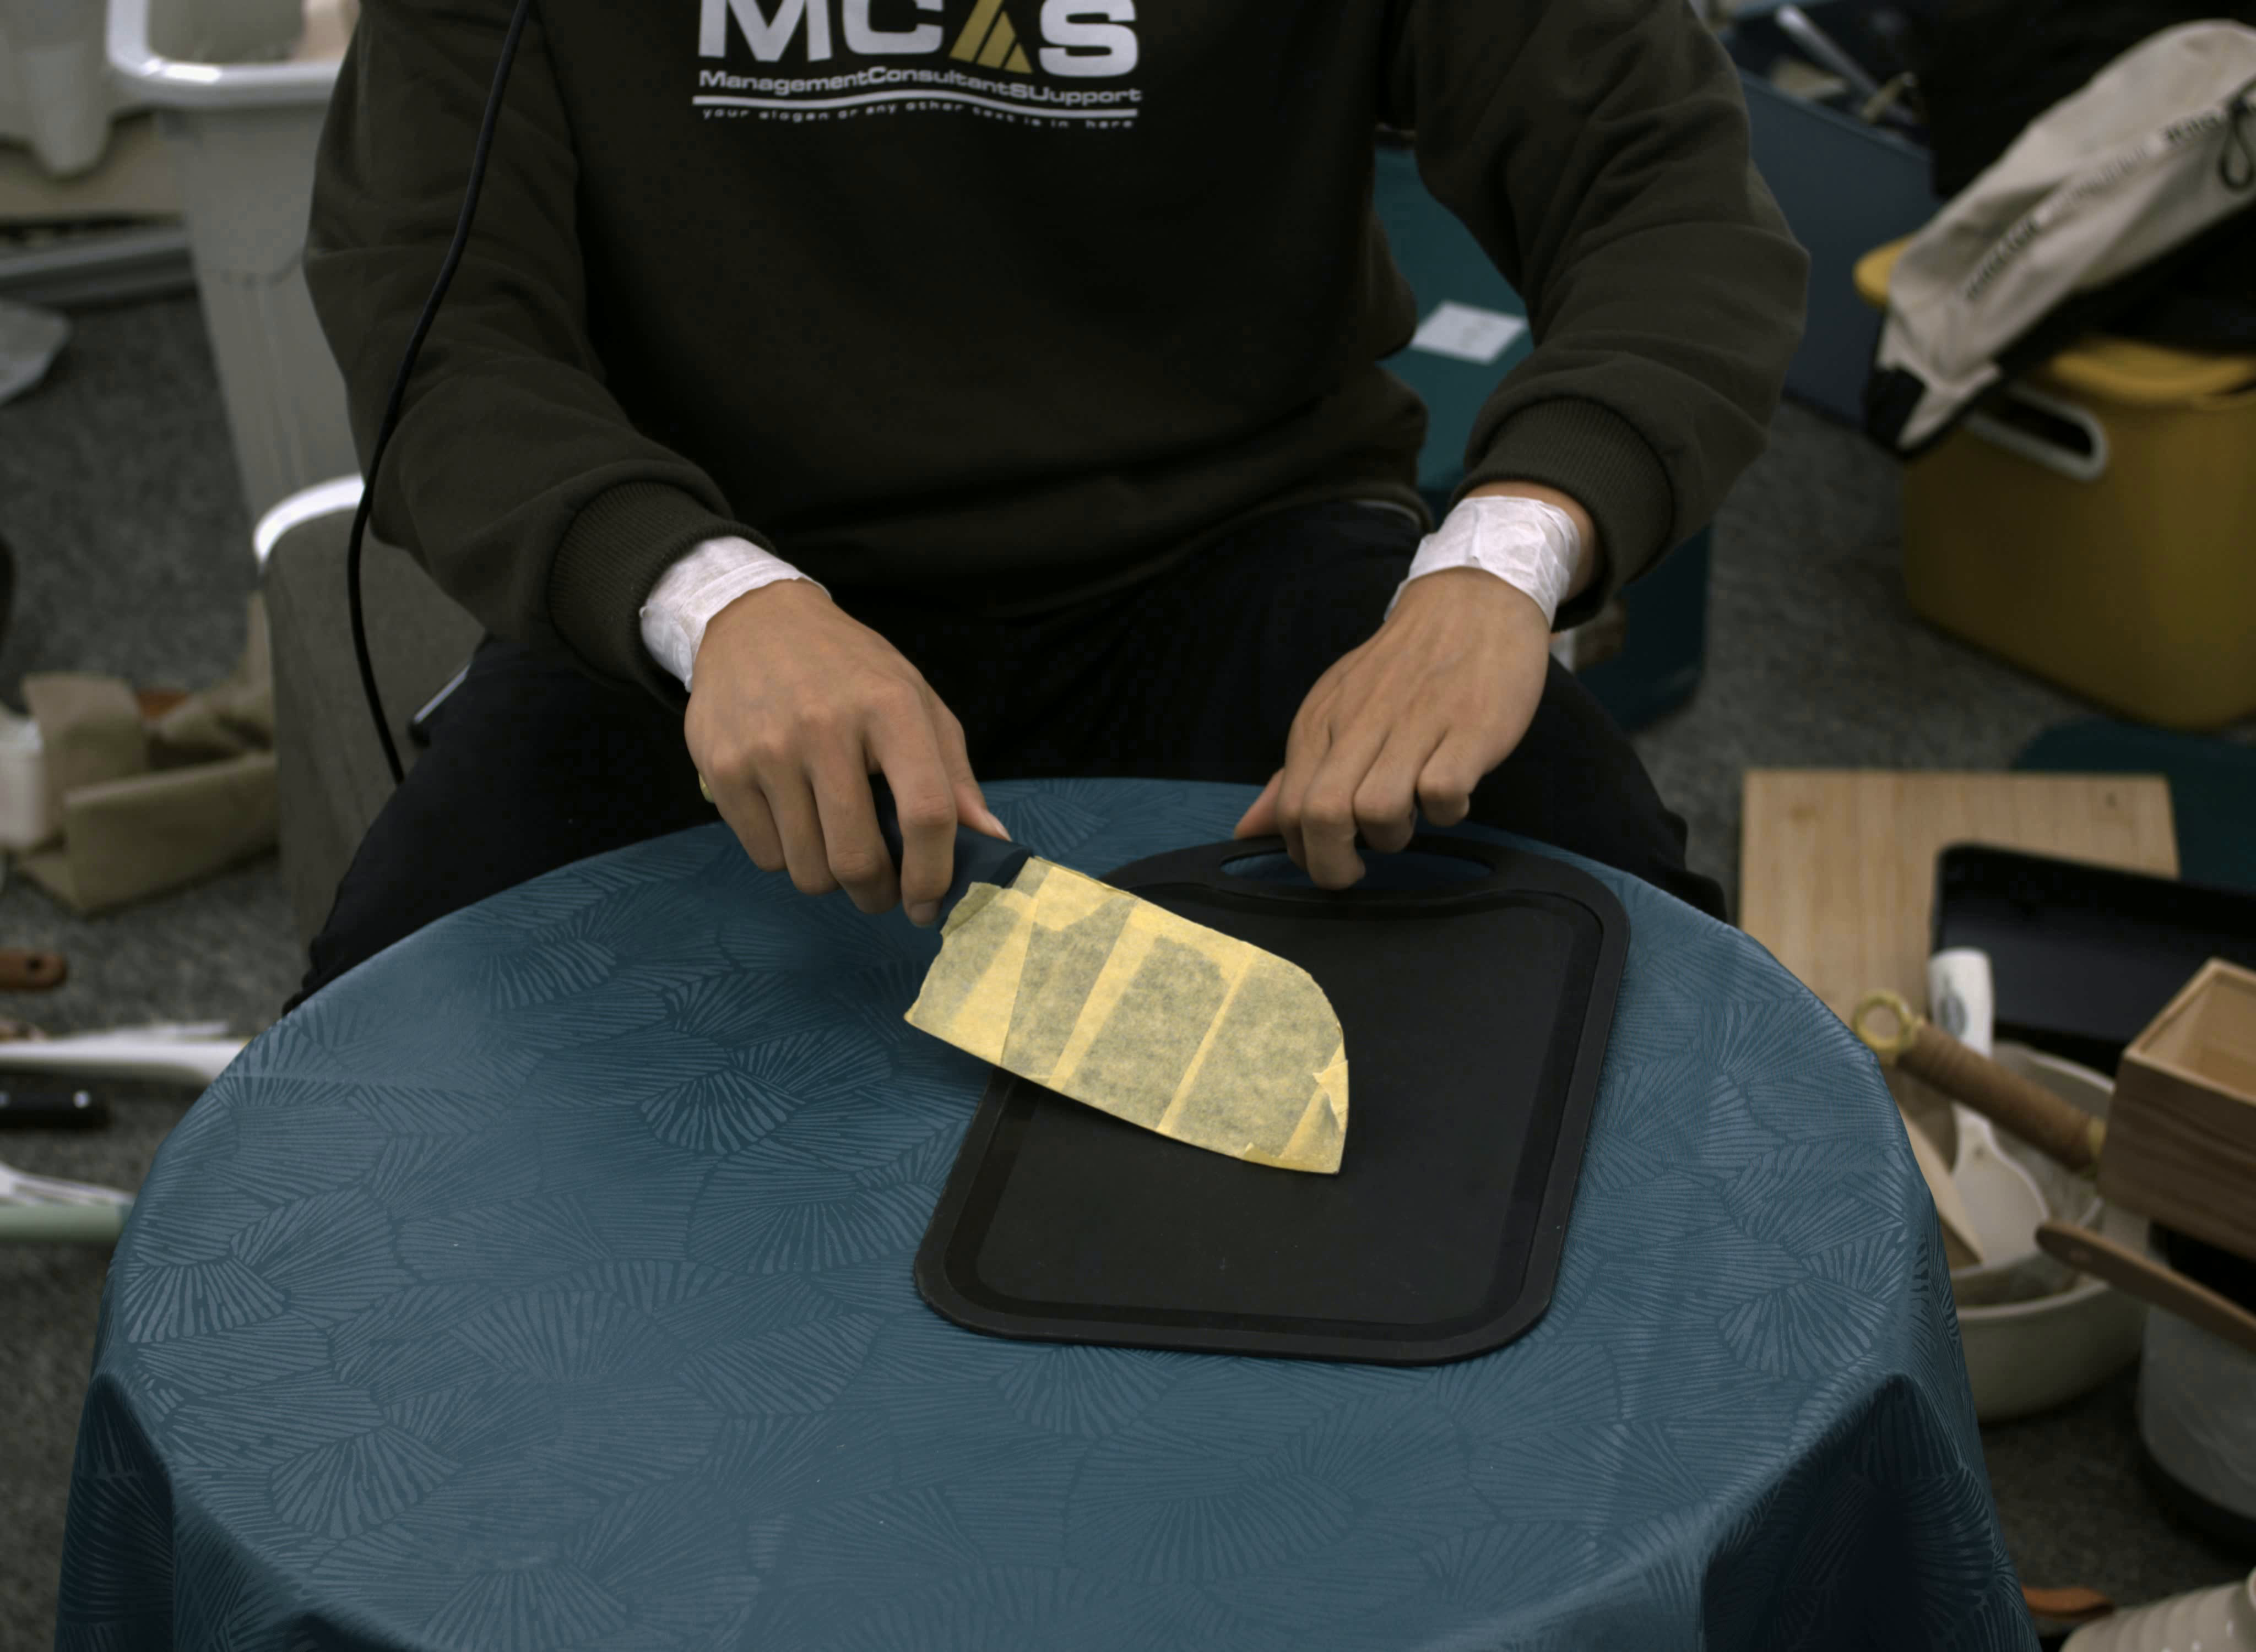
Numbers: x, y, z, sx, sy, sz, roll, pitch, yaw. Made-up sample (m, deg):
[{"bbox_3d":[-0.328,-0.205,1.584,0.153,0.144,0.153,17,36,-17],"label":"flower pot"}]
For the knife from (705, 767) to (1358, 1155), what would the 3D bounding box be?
[{"bbox_3d":[-0.039,0.044,1.930,0.289,0.027,0.082,24,74,30],"label":"knife"}]

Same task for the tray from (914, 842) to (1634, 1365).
[{"bbox_3d":[0.055,0.085,1.910,0.209,0.009,0.331,3,29,11],"label":"tray"}]
